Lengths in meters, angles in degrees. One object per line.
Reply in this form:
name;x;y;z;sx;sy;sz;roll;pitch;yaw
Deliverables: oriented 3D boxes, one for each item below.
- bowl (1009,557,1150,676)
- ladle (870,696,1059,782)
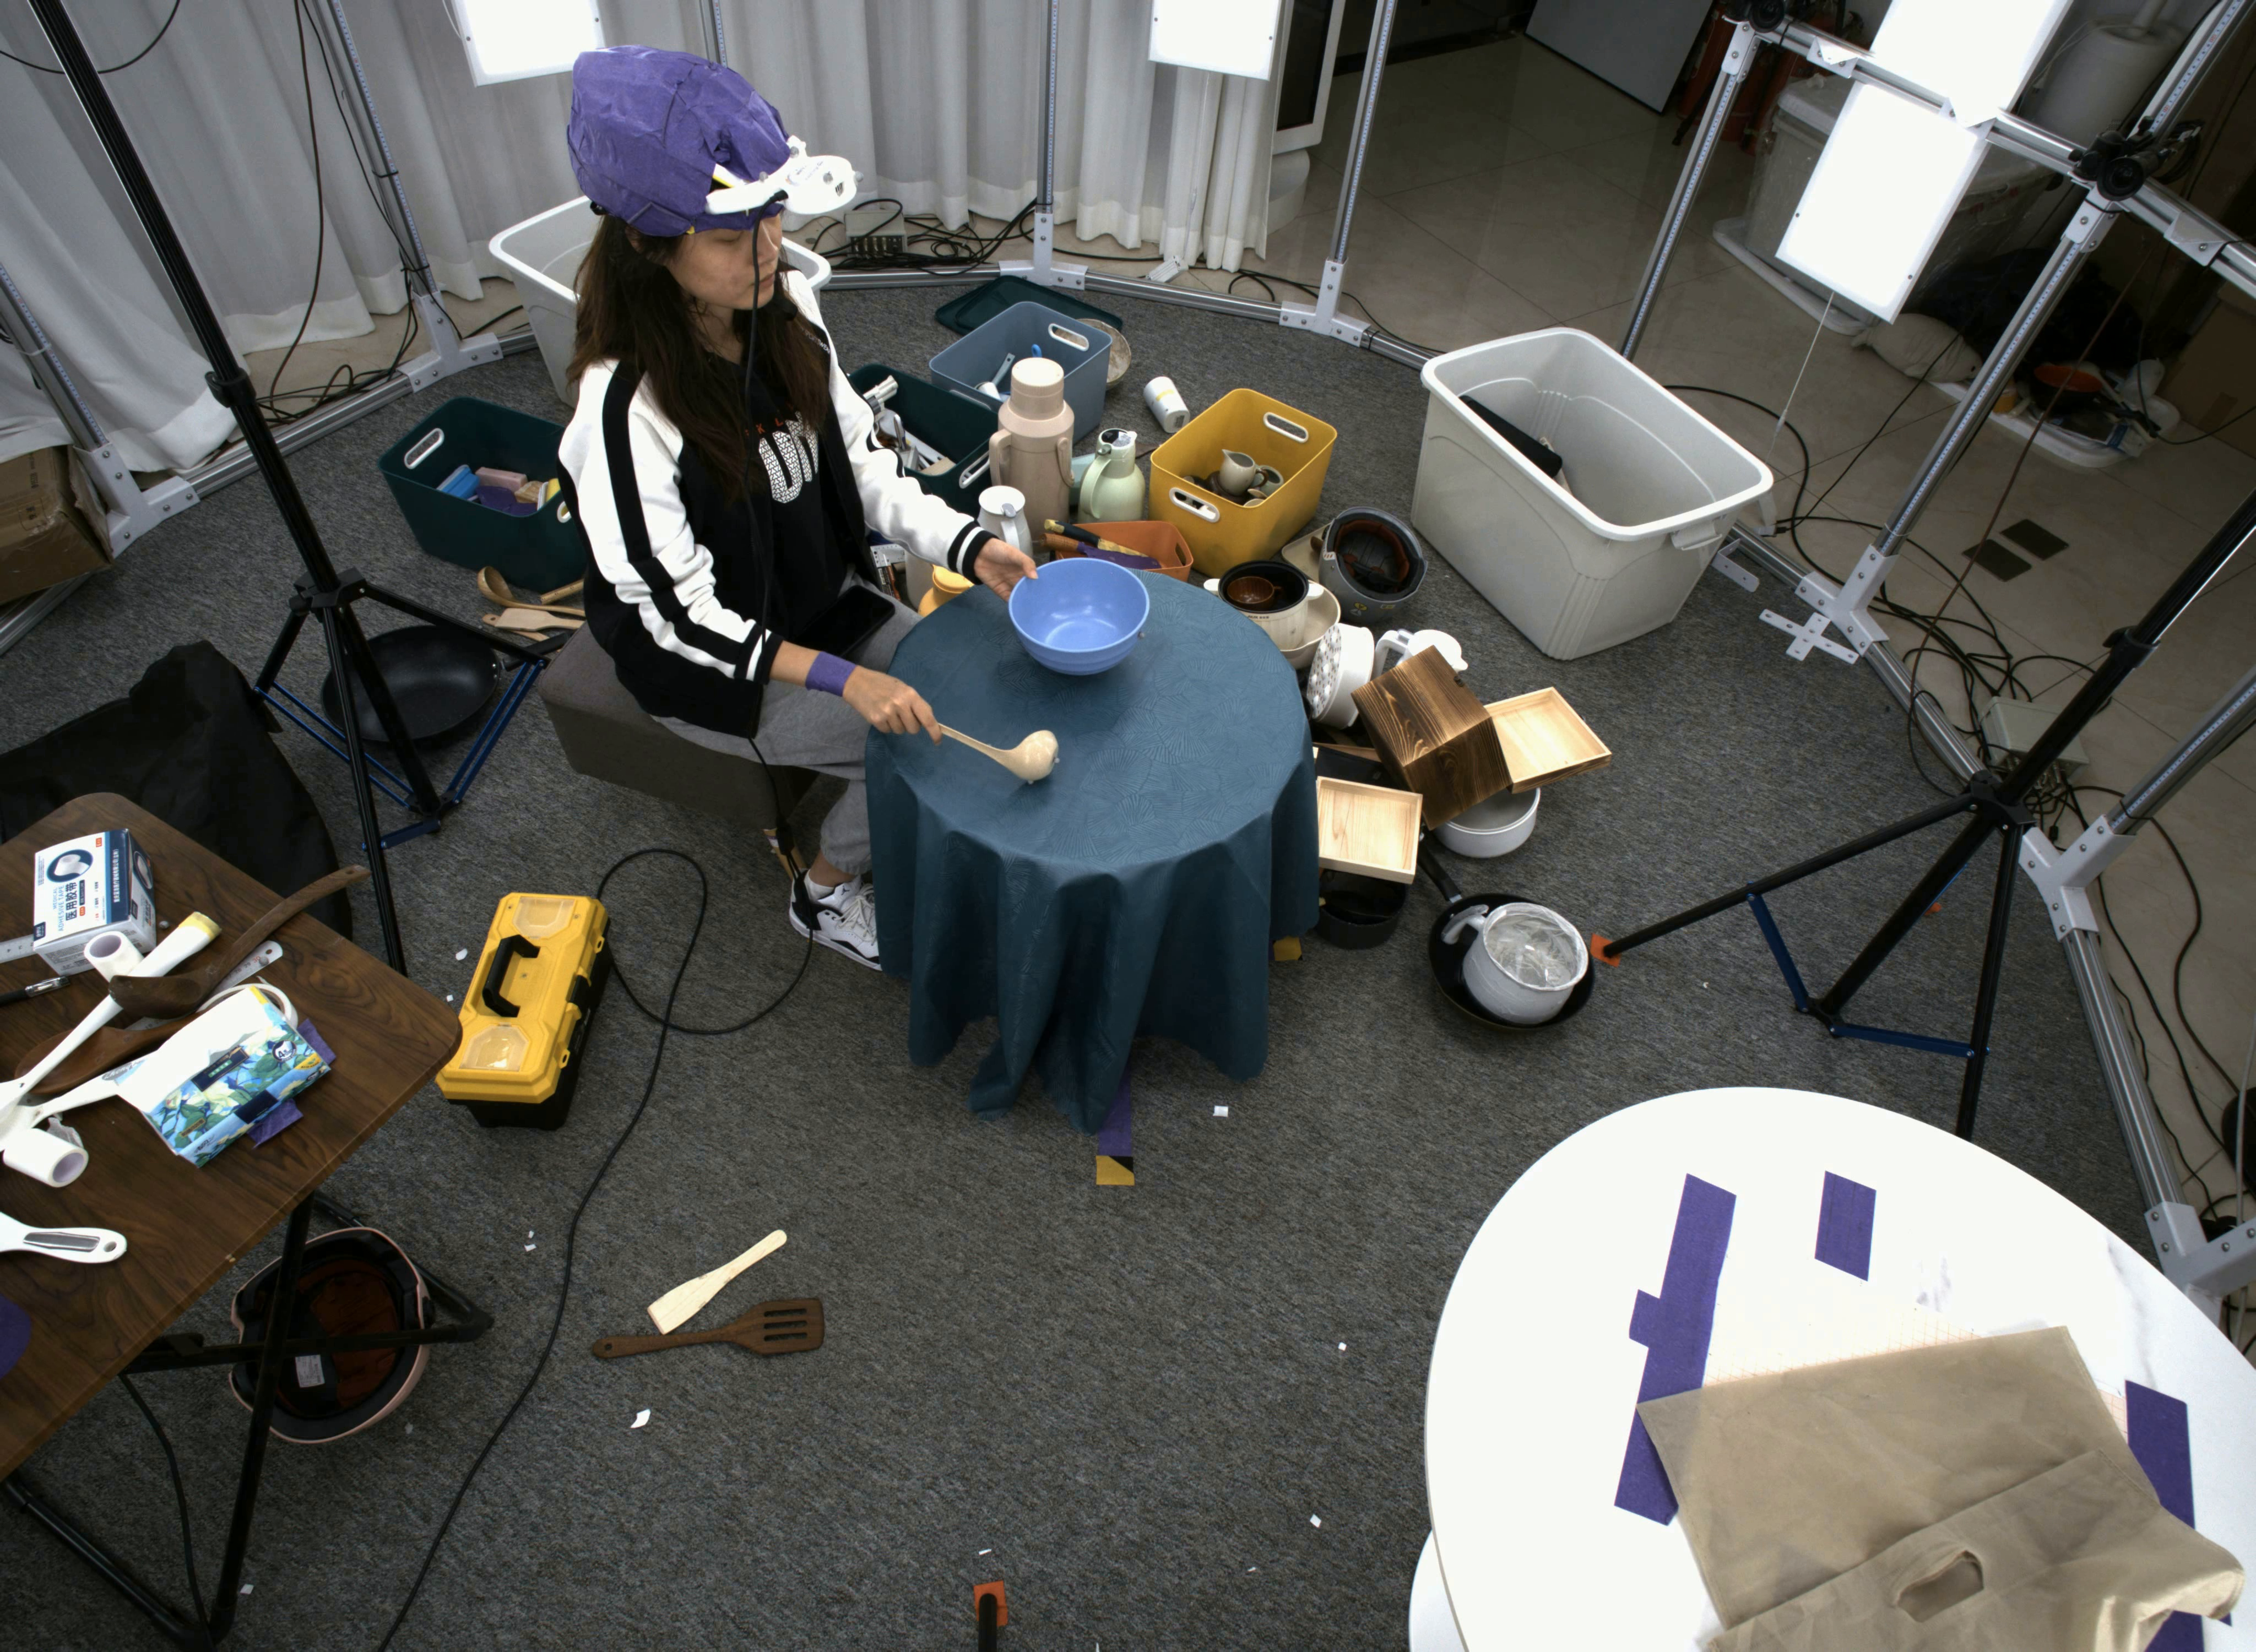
bowl;-0.067;-0.282;1.831;0.196;0.093;0.201;-1;51;0
ladle;-0.212;-0.133;1.708;0.255;0.070;0.074;24;34;10
